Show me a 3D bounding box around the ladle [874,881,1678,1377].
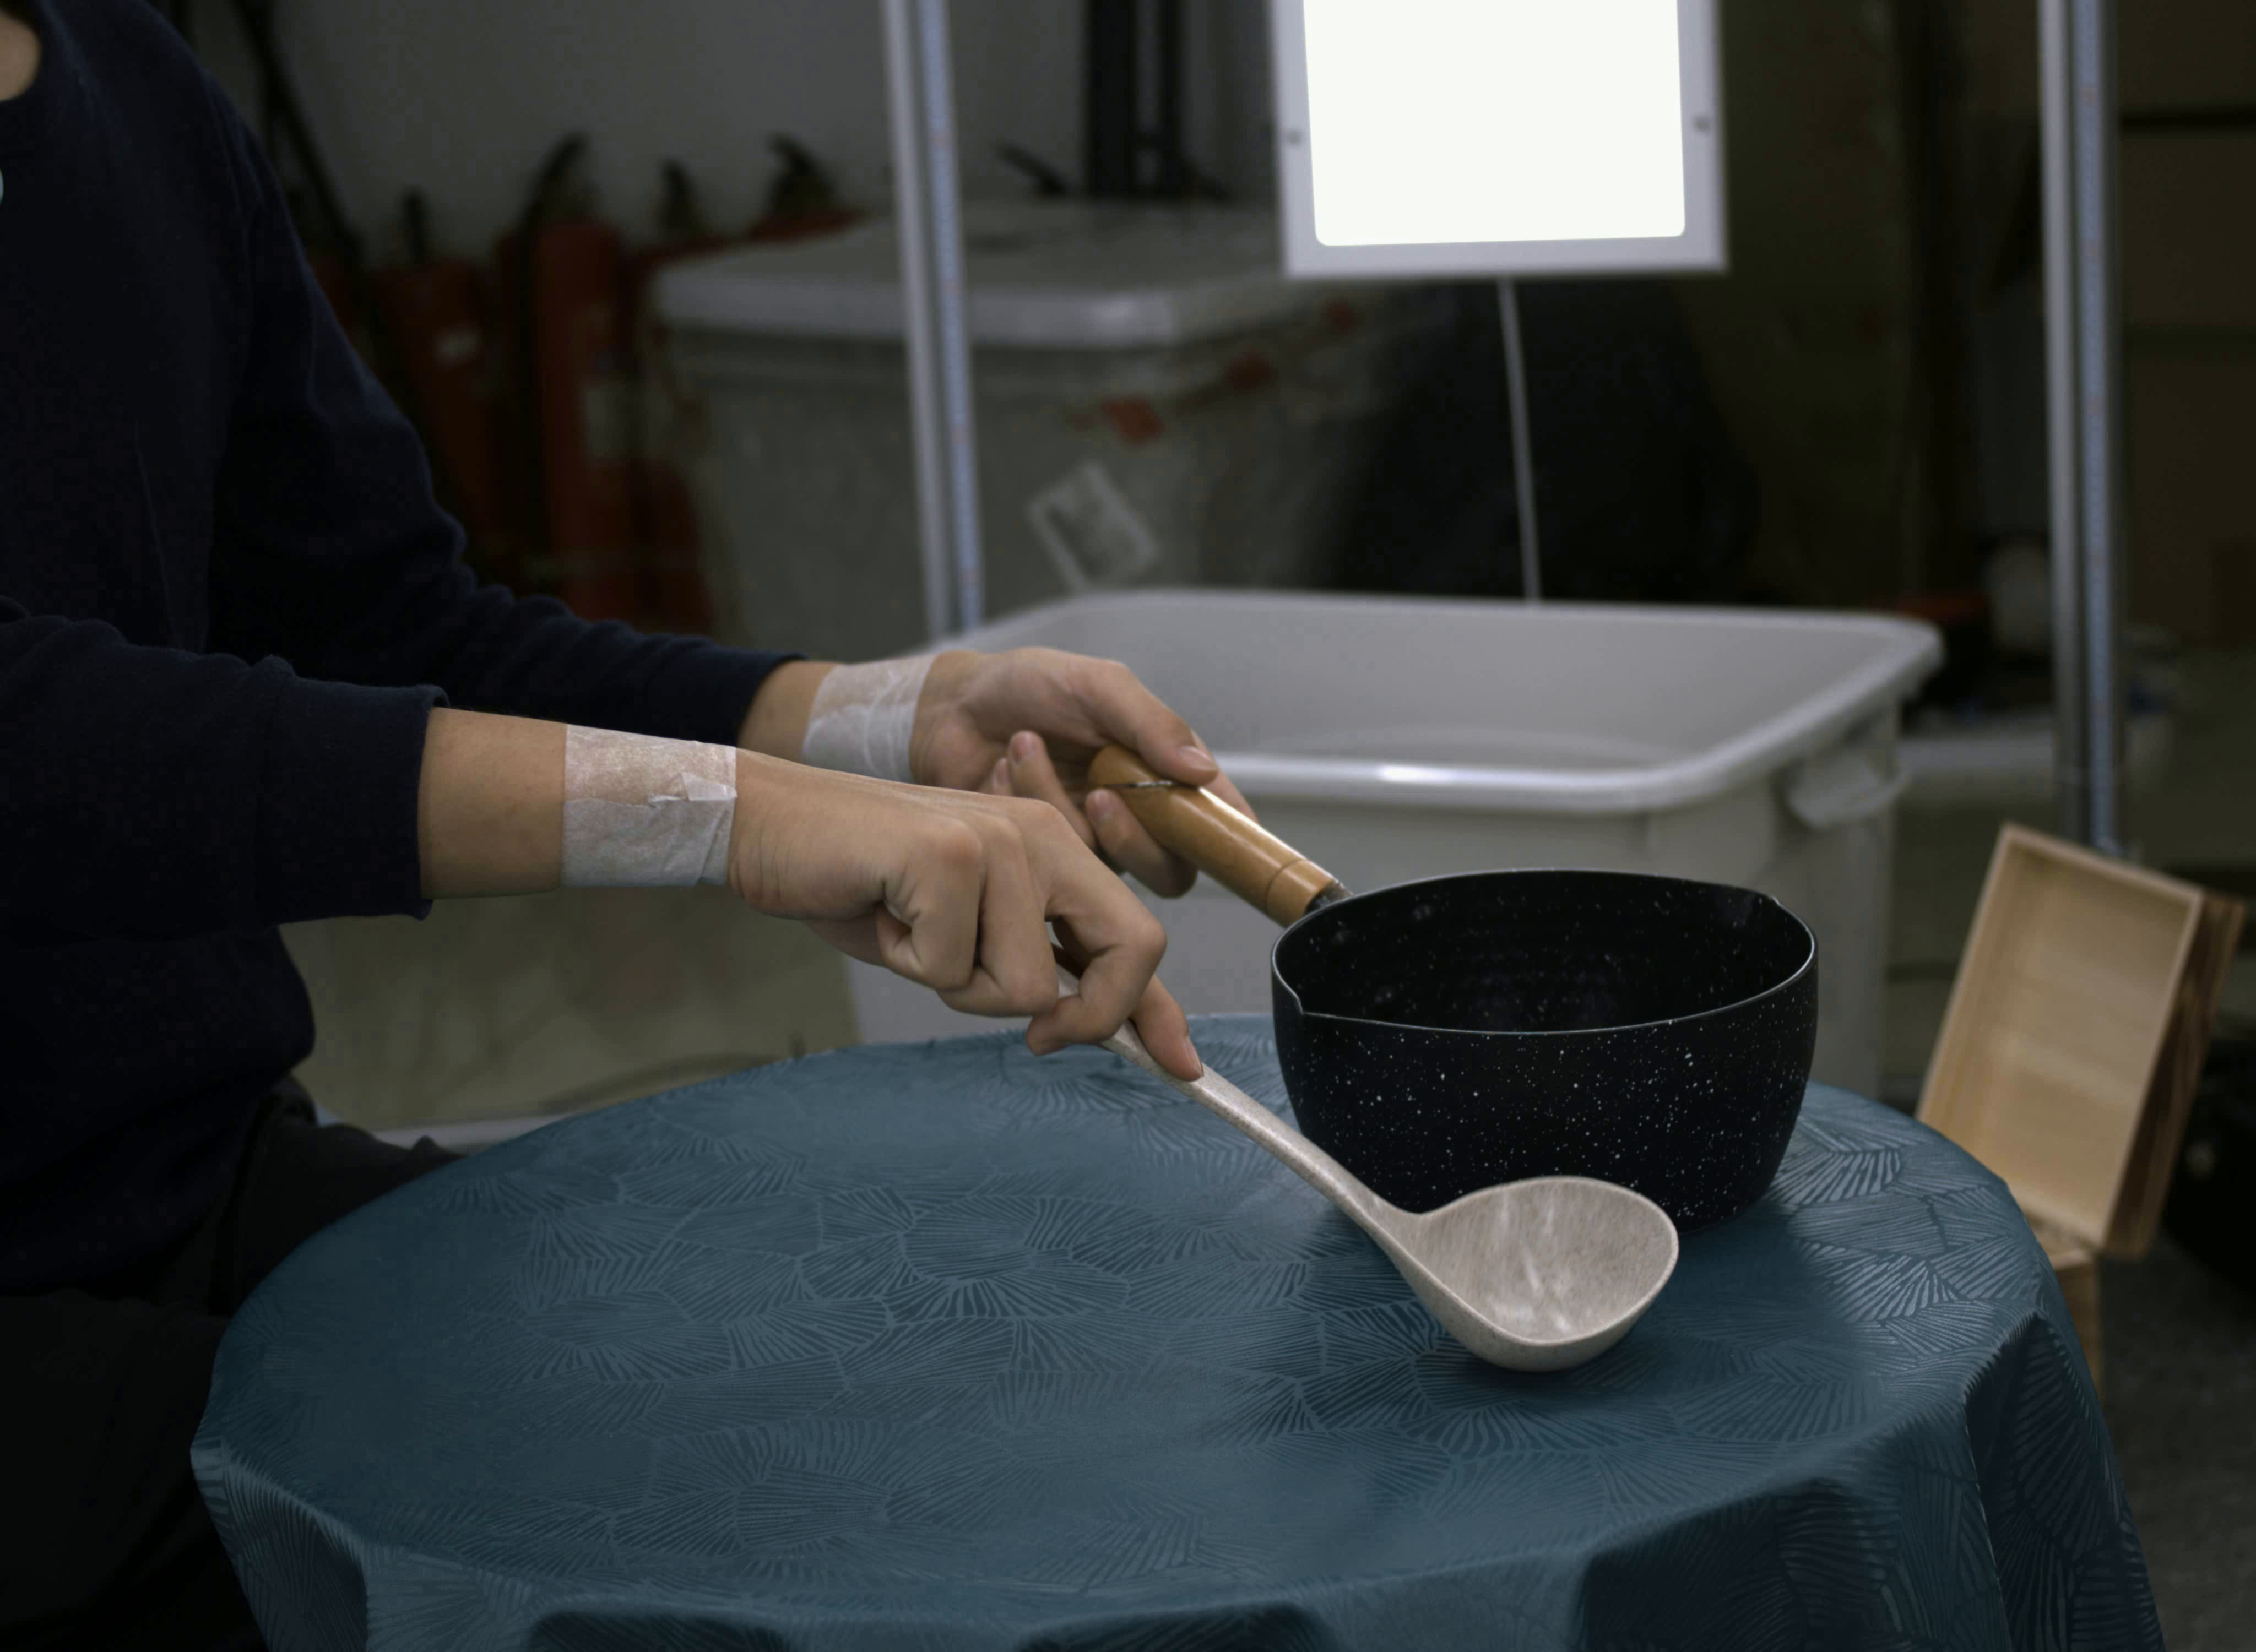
[{"bbox_3d":[0.048,0.075,1.651,0.070,0.271,0.089,-44,22,21],"label":"ladle"}]

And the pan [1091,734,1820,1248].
[{"bbox_3d":[0.093,0.053,1.908,0.202,0.108,0.349,-15,21,-33],"label":"pan"}]
